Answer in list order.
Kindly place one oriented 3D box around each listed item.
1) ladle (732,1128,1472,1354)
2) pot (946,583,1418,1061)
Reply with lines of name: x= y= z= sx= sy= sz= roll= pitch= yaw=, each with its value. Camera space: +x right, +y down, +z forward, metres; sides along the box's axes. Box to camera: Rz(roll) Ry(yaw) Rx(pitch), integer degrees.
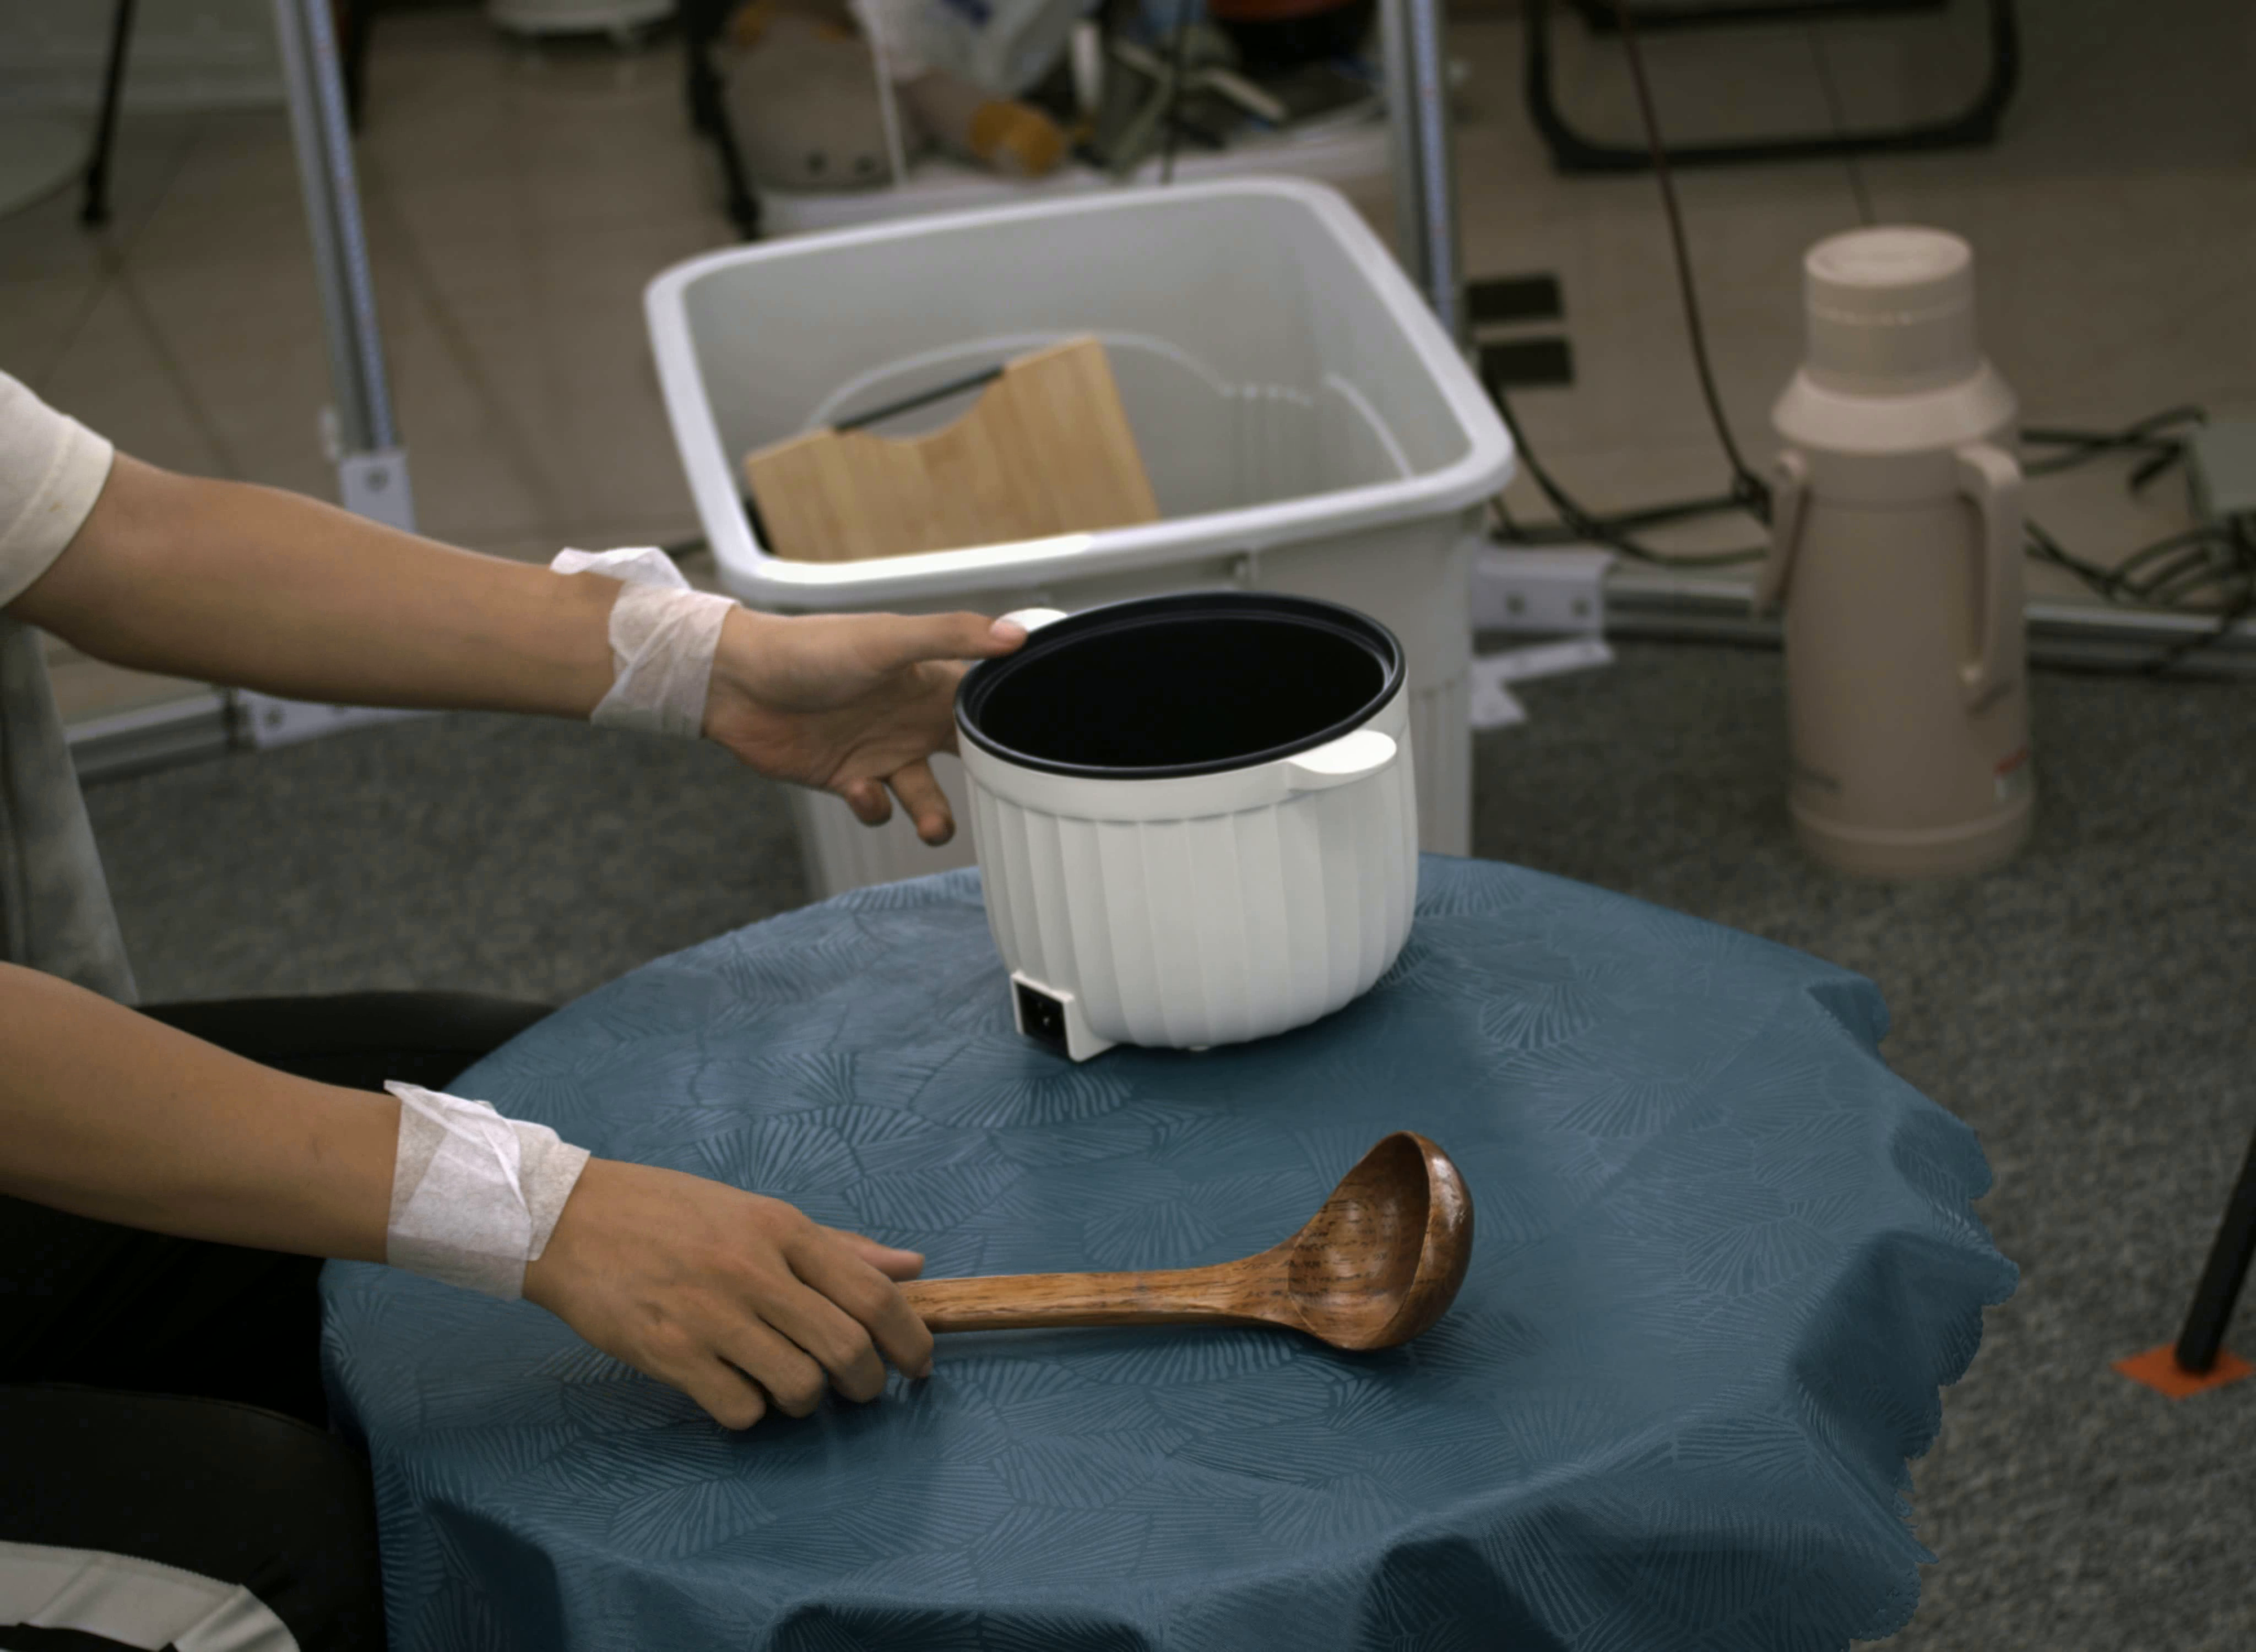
ladle: x=-0.013 y=0.155 z=2.031 sx=0.273 sy=0.078 sz=0.080 roll=-2 pitch=50 yaw=7
pot: x=0.030 y=-0.002 z=2.279 sx=0.189 sy=0.145 sz=0.238 roll=-28 pitch=34 yaw=-31
